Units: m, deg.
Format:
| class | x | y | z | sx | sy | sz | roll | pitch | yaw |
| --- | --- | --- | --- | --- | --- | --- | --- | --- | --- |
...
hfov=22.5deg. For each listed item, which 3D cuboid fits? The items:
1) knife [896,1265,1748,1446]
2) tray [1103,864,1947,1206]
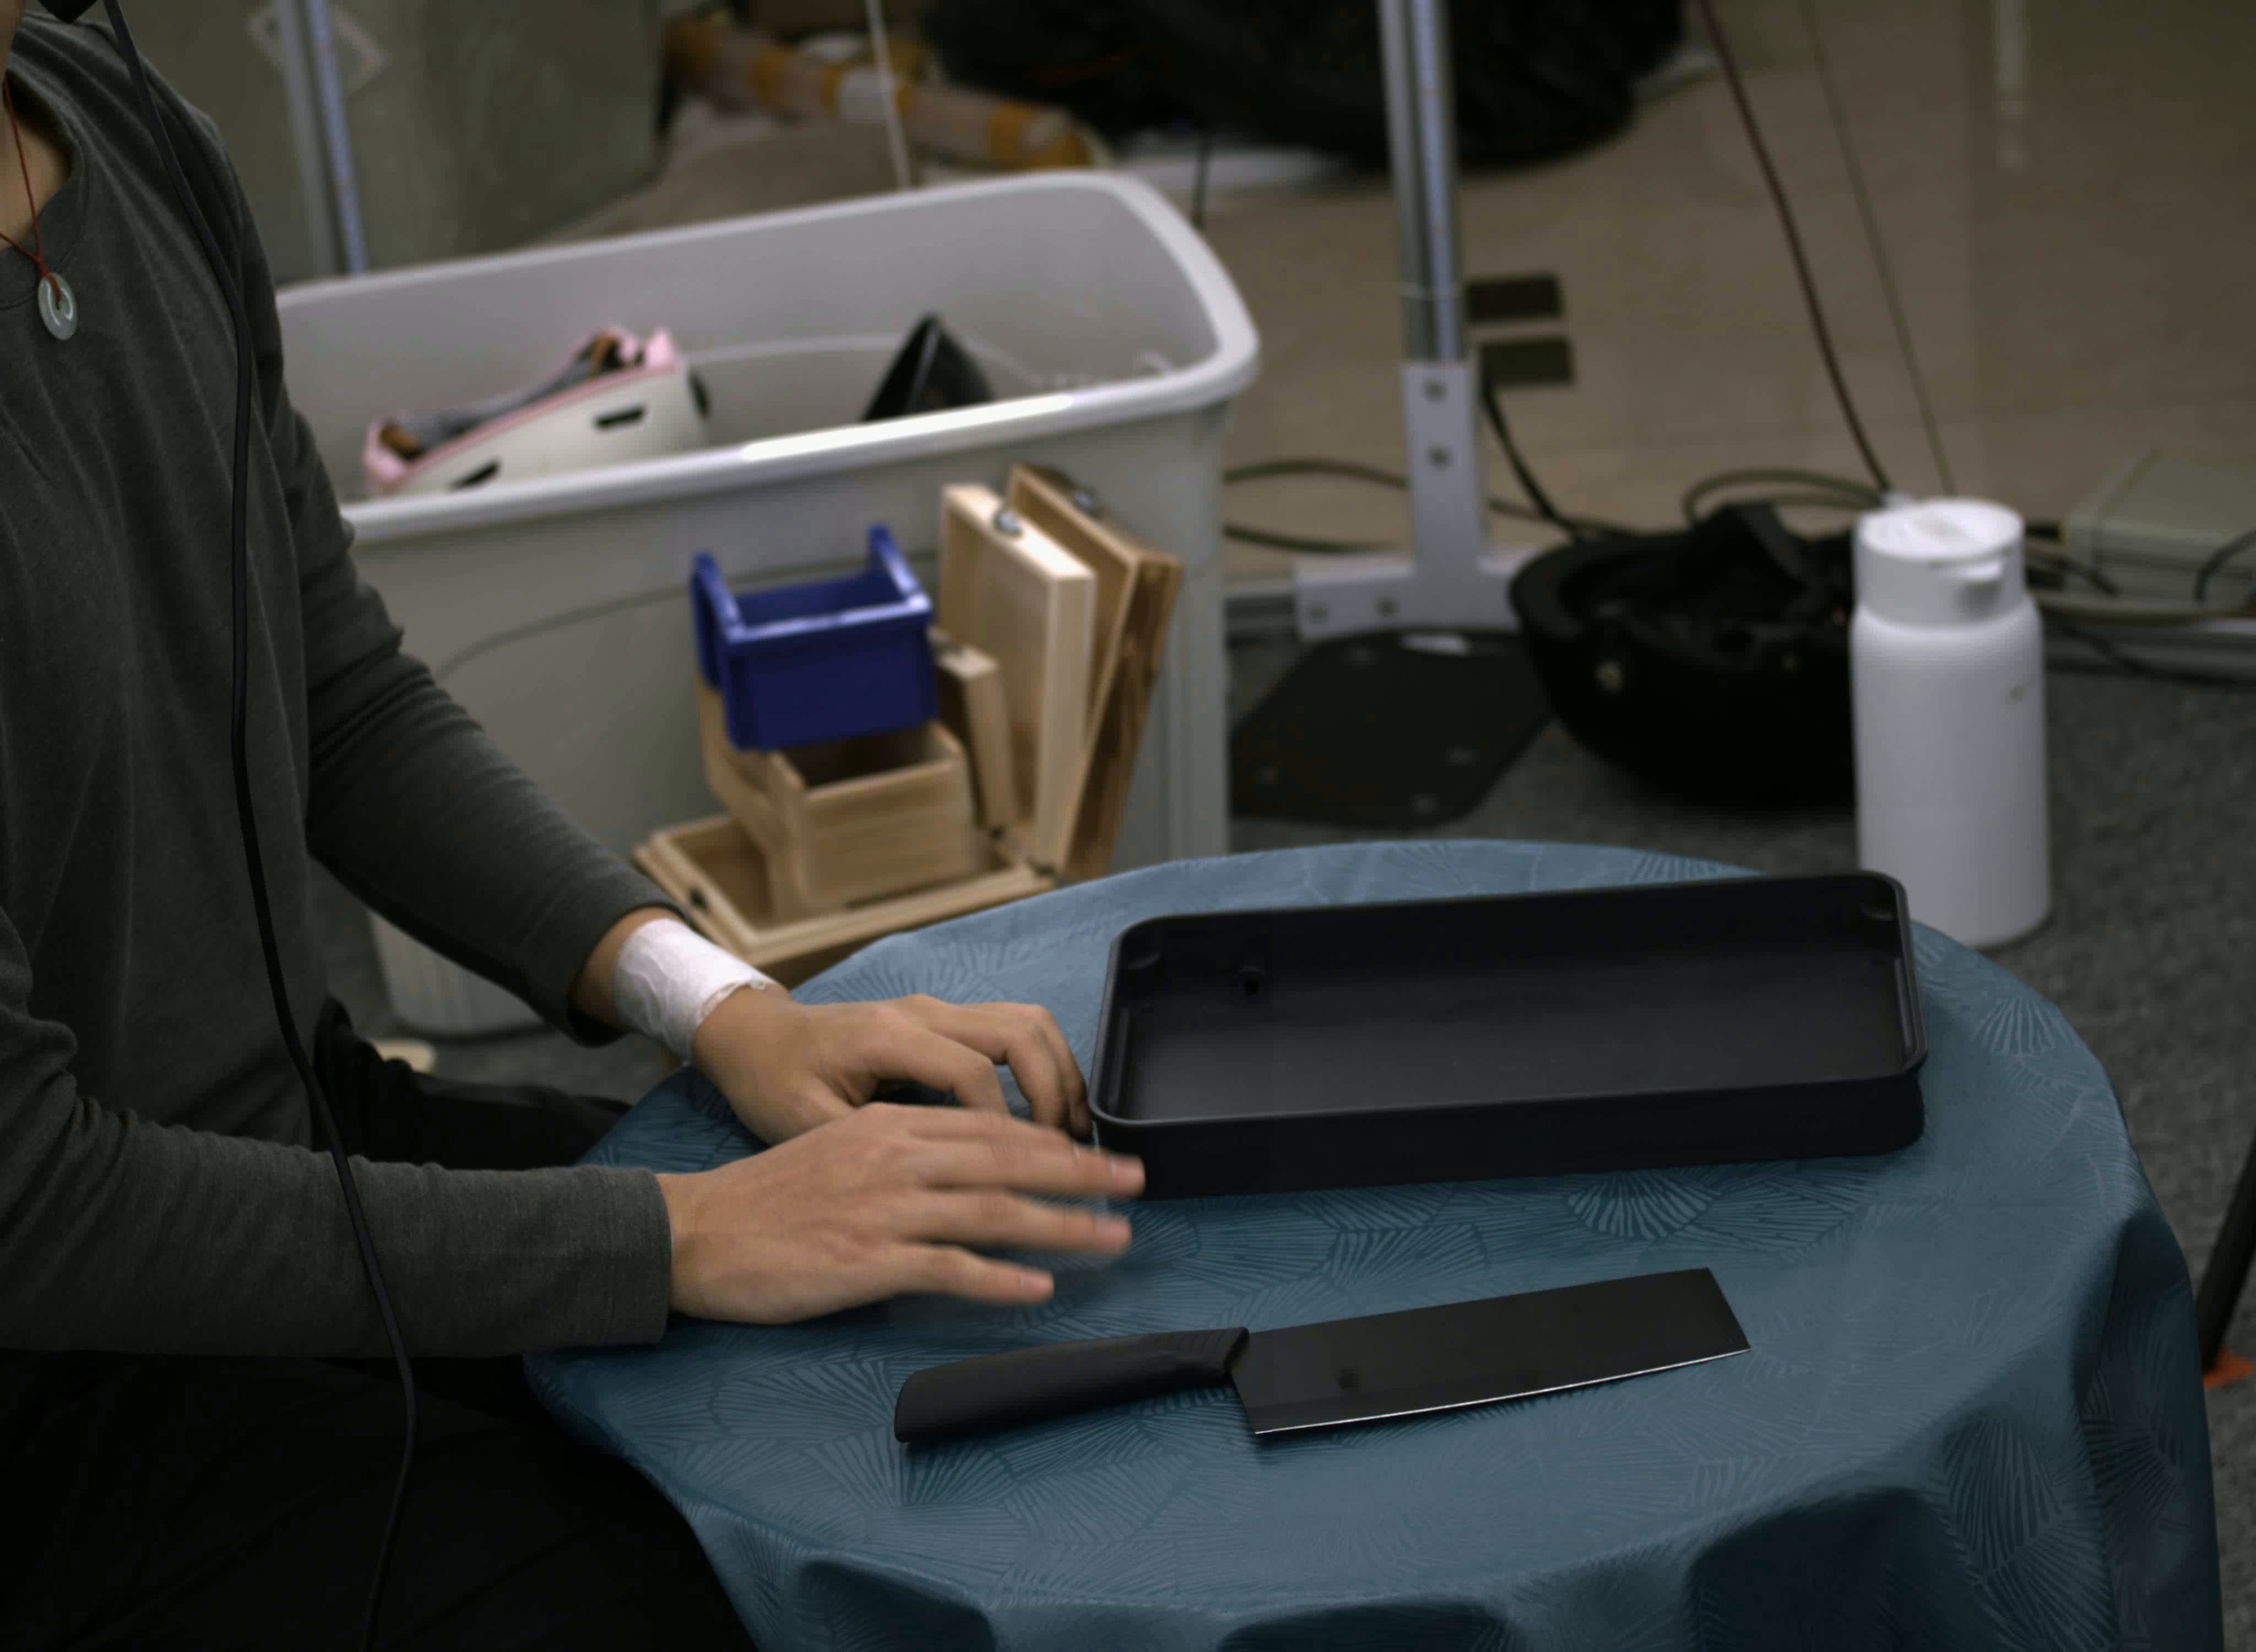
| class | x | y | z | sx | sy | sz | roll | pitch | yaw |
| --- | --- | --- | --- | --- | --- | --- | --- | --- | --- |
| knife | 0.067 | 0.191 | 2.007 | 0.302 | 0.021 | 0.080 | -6 | 26 | -3 |
| tray | 0.152 | 0.079 | 2.200 | 0.317 | 0.037 | 0.181 | -5 | 25 | 5 |
